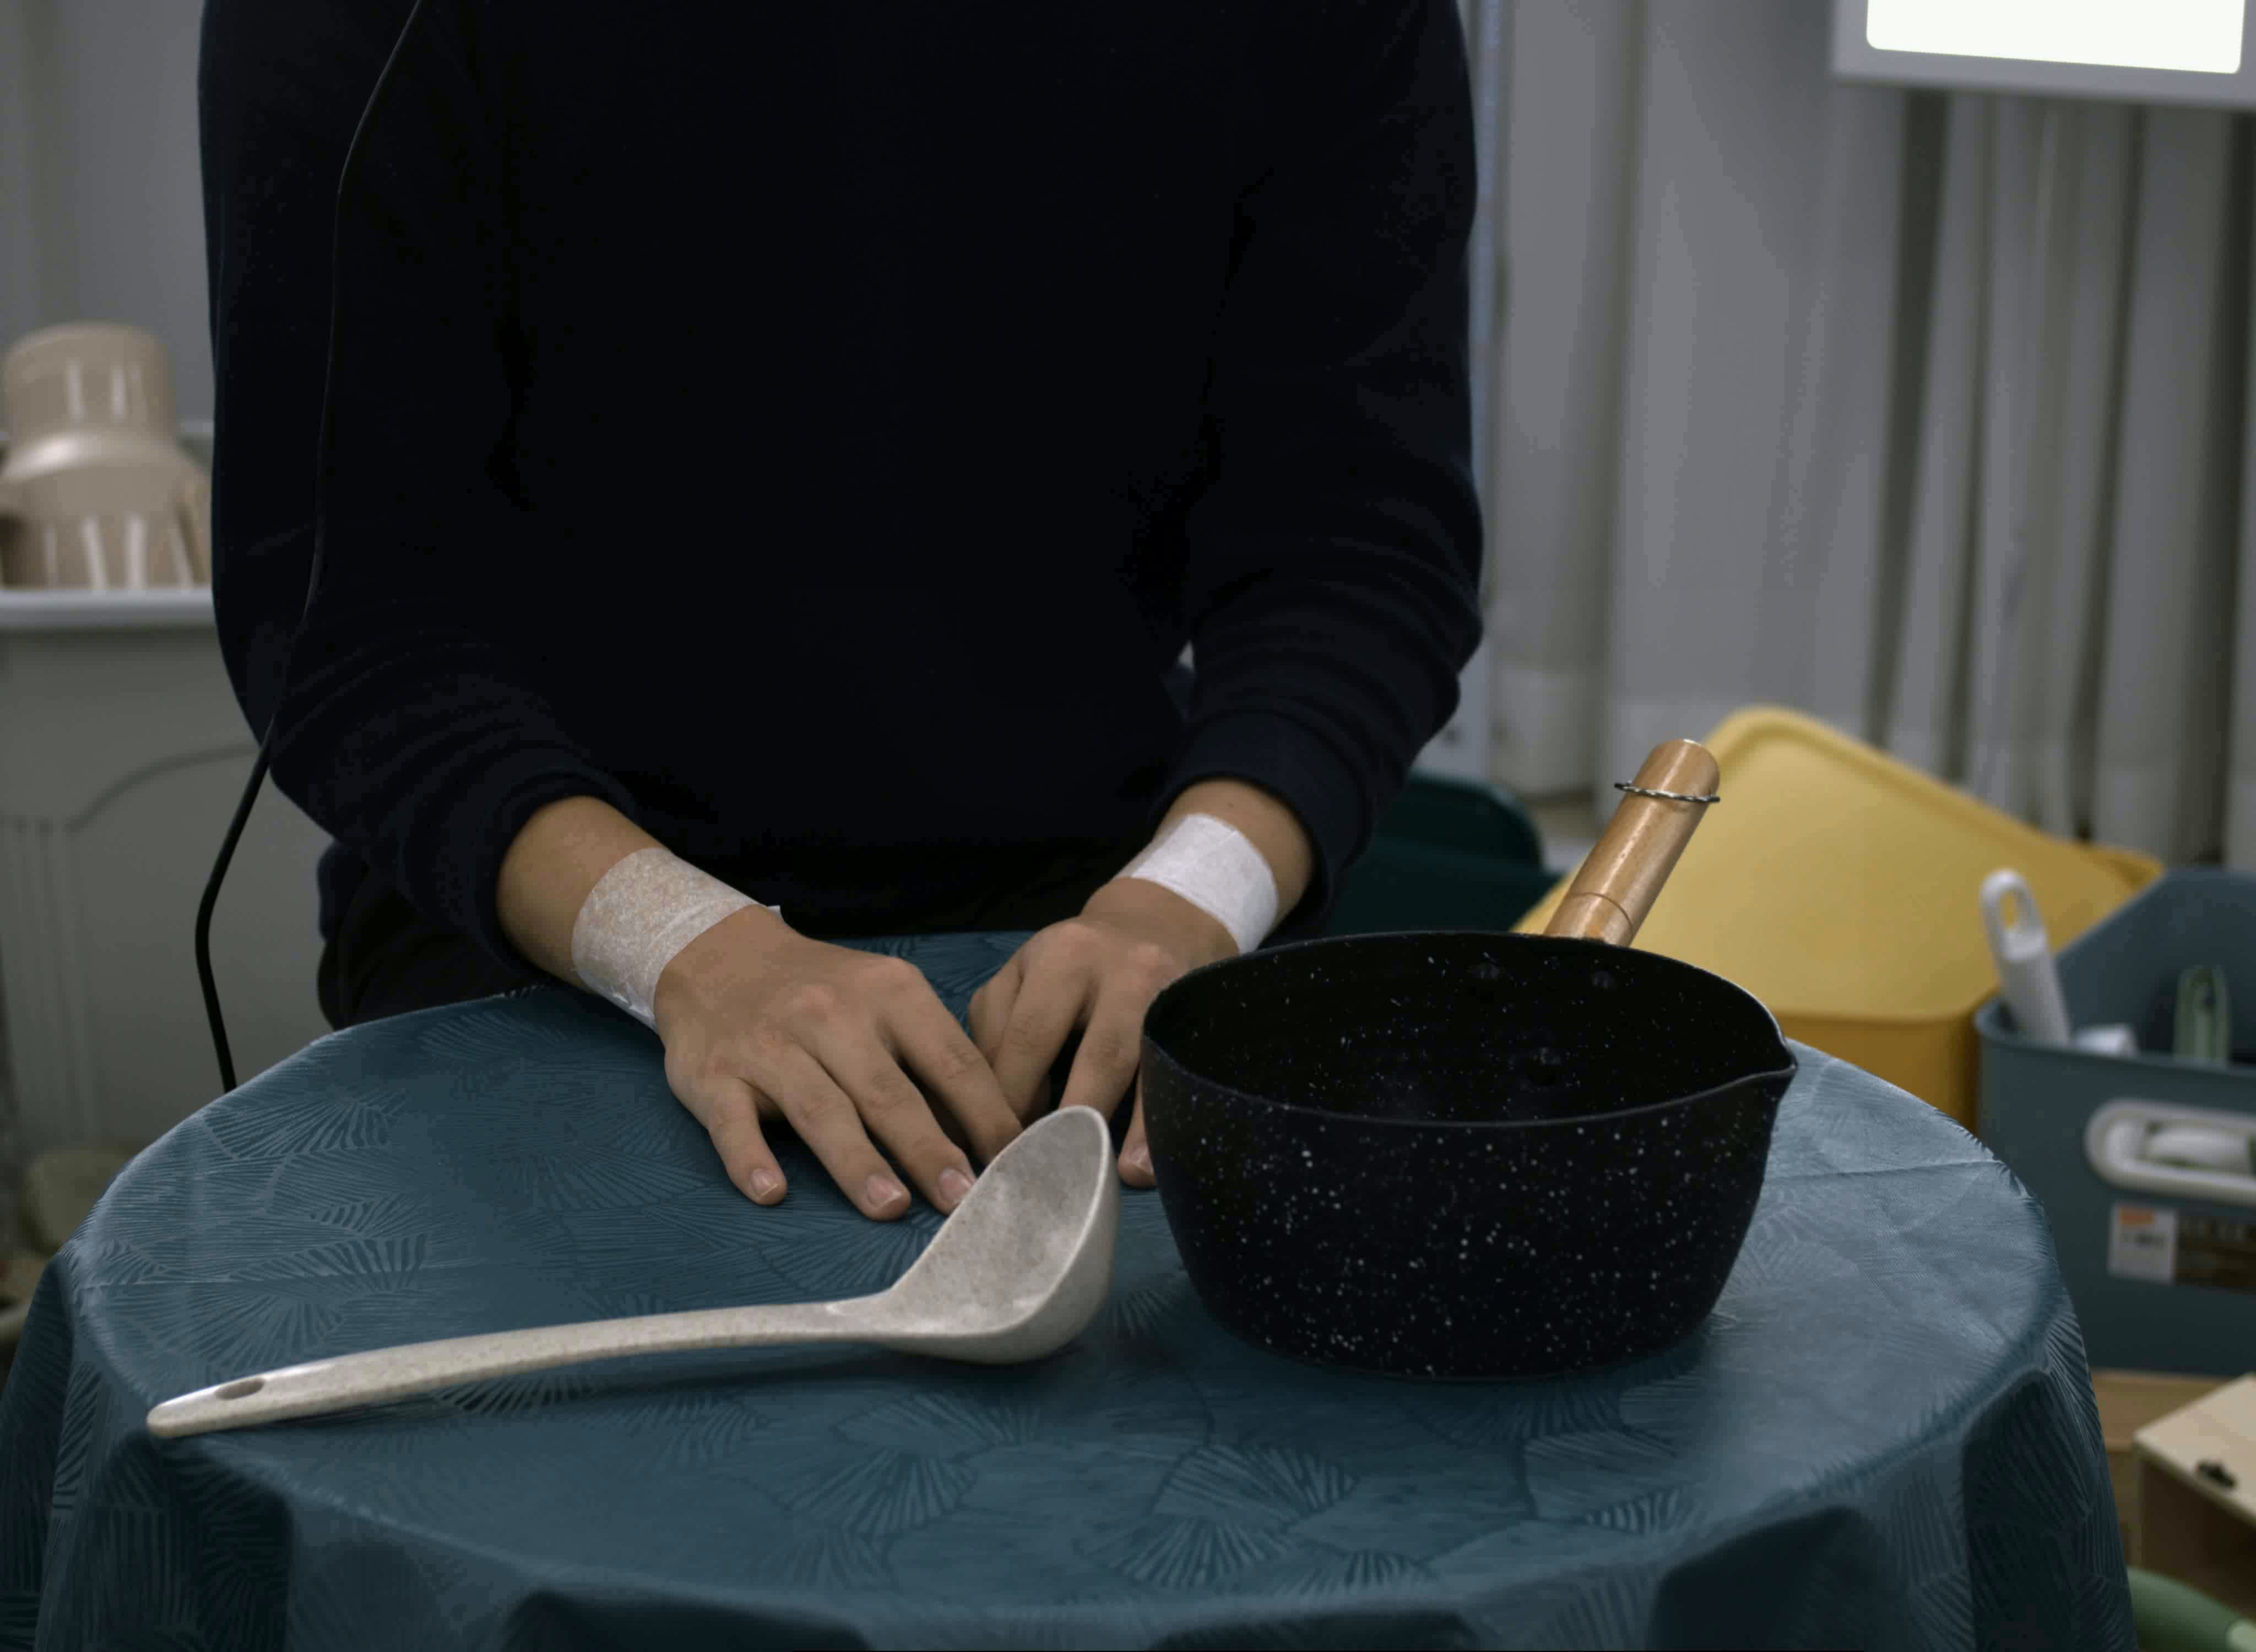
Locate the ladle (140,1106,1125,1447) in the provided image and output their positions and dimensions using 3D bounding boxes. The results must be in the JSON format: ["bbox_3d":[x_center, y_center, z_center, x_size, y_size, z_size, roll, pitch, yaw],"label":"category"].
[{"bbox_3d":[-0.135,0.124,1.452,0.275,0.070,0.088,-4,24,-15],"label":"ladle"}]

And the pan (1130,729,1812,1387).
[{"bbox_3d":[0.122,0.064,1.595,0.205,0.109,0.343,5,18,19],"label":"pan"}]
